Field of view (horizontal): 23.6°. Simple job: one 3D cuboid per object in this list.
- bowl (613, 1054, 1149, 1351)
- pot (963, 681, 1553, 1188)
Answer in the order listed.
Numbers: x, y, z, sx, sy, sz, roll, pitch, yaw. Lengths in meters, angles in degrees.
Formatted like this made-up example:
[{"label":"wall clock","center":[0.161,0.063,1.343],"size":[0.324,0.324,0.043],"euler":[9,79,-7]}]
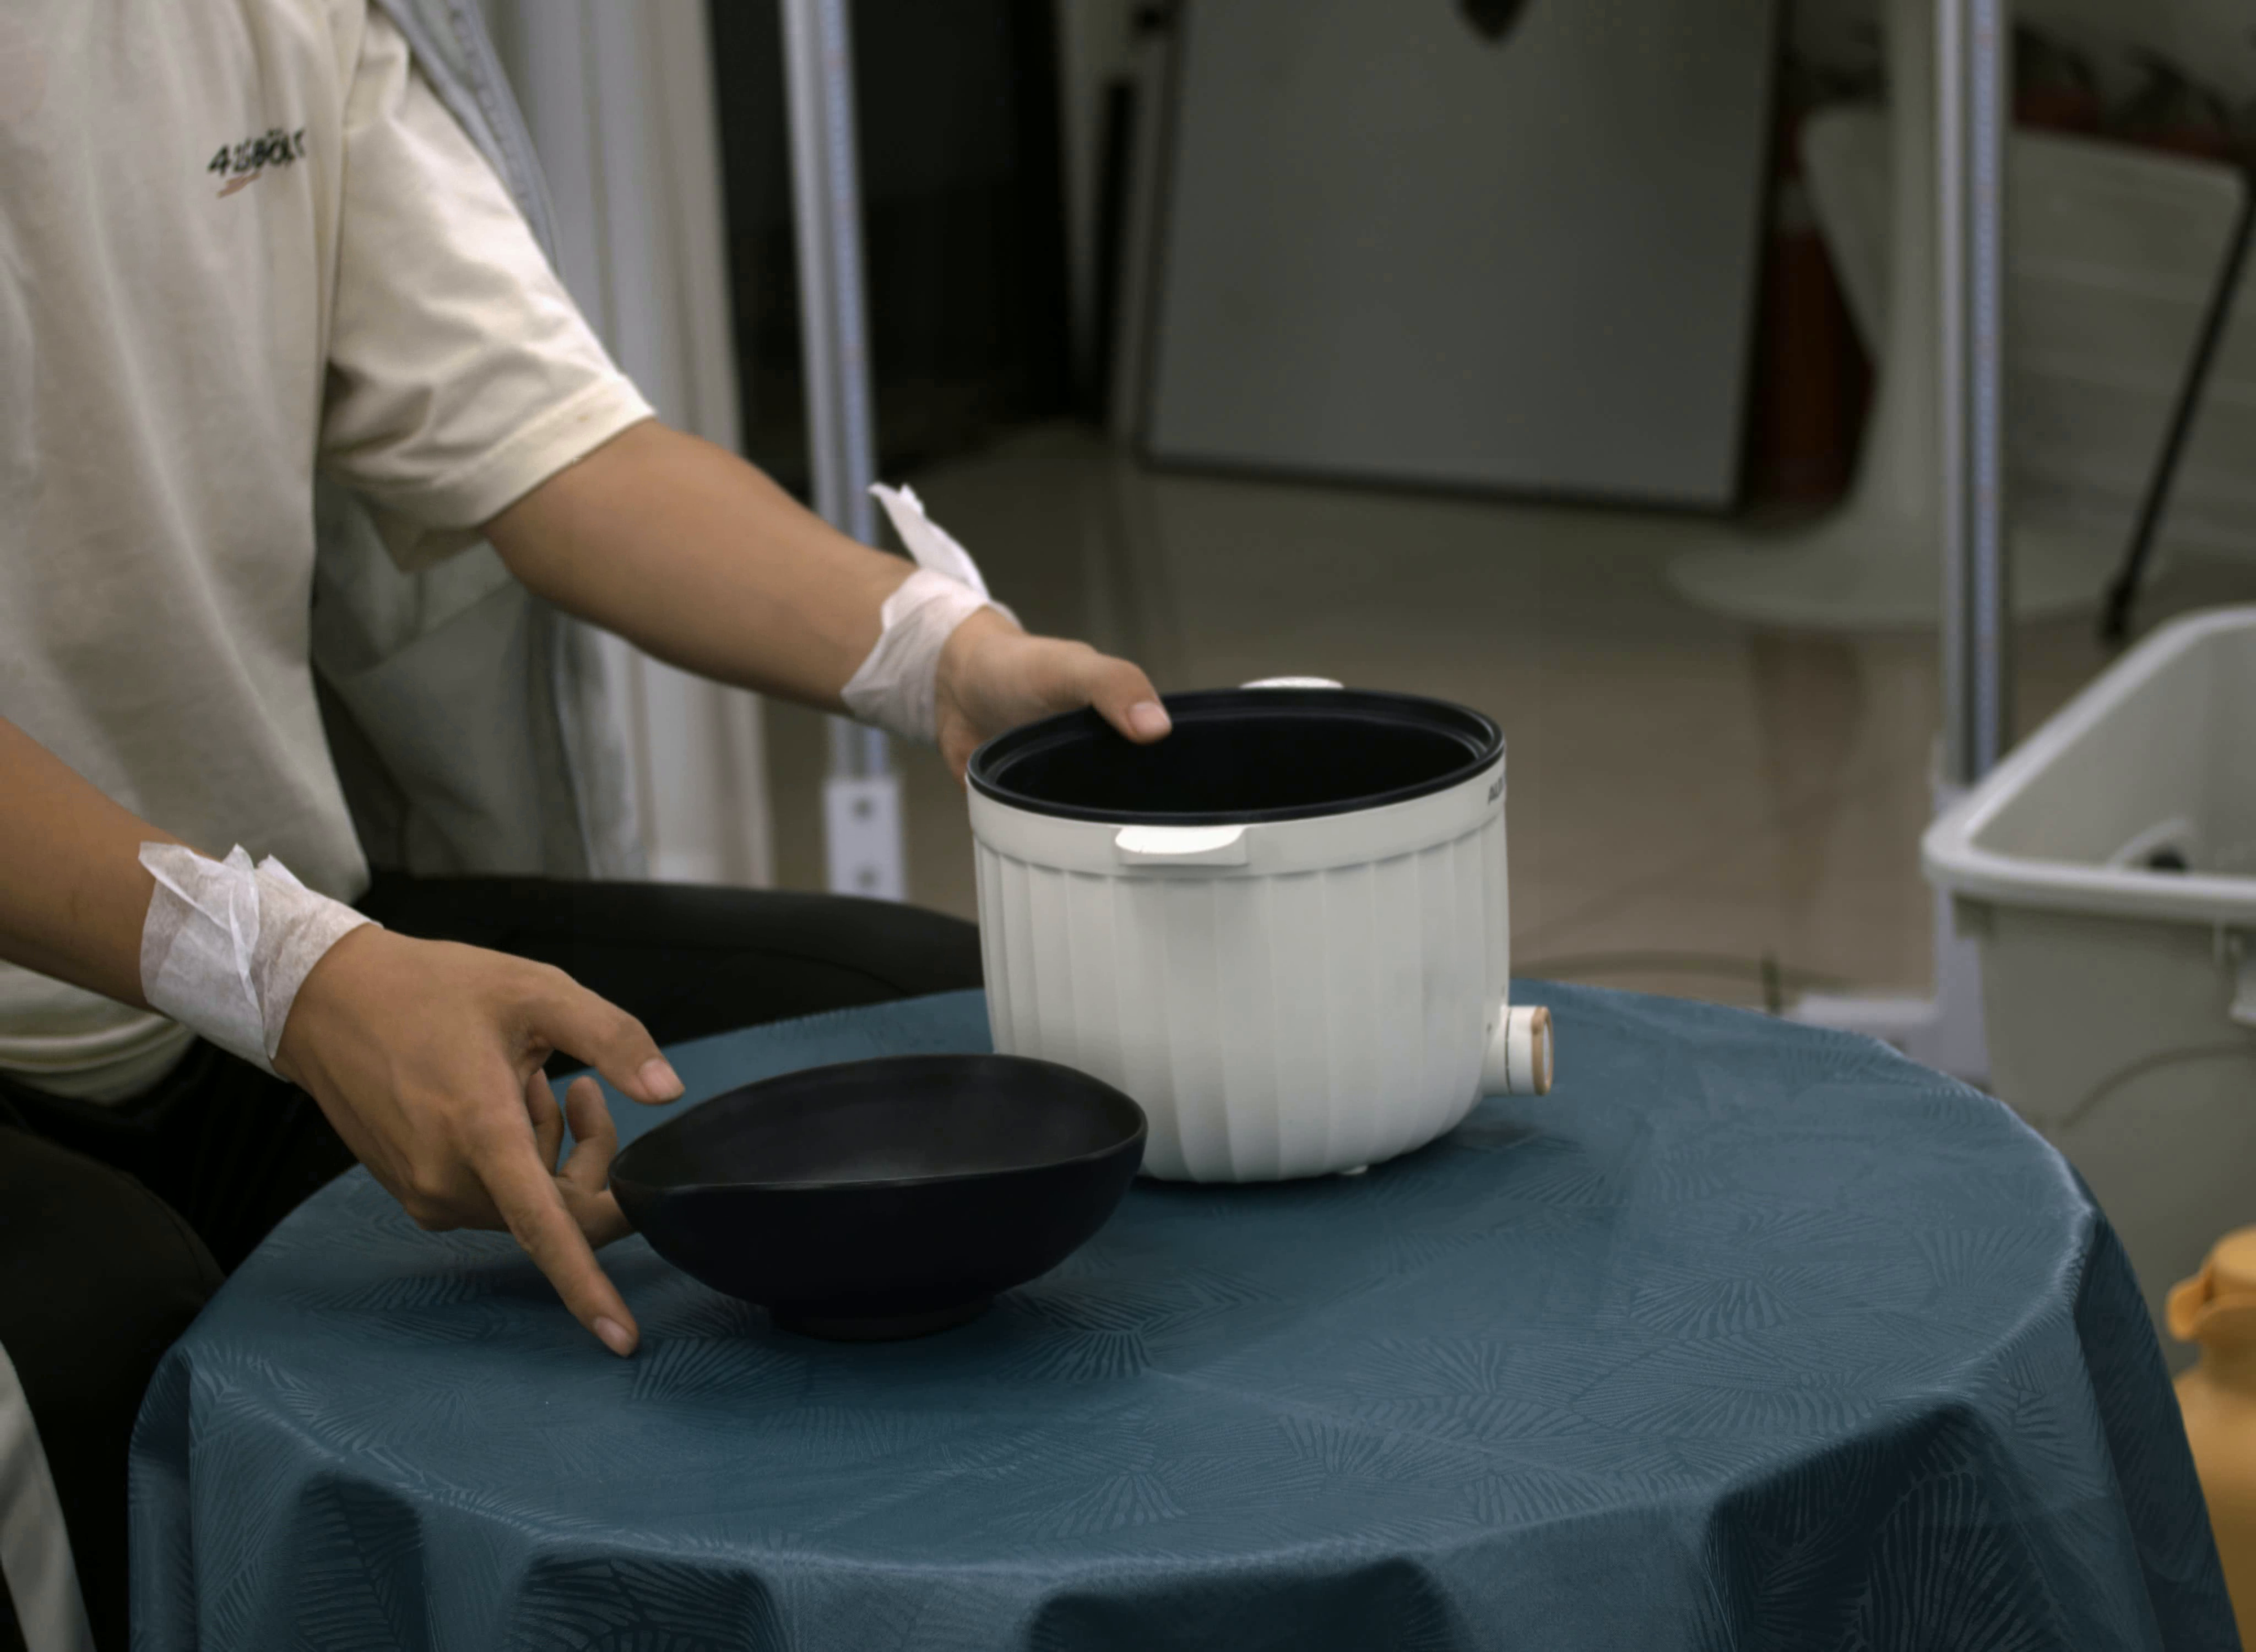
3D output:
[{"label":"bowl","center":[-0.075,0.121,1.665],"size":[0.169,0.067,0.137],"euler":[-3,12,7]},{"label":"pot","center":[0.045,0.038,1.810],"size":[0.189,0.144,0.239],"euler":[-4,14,13]}]
